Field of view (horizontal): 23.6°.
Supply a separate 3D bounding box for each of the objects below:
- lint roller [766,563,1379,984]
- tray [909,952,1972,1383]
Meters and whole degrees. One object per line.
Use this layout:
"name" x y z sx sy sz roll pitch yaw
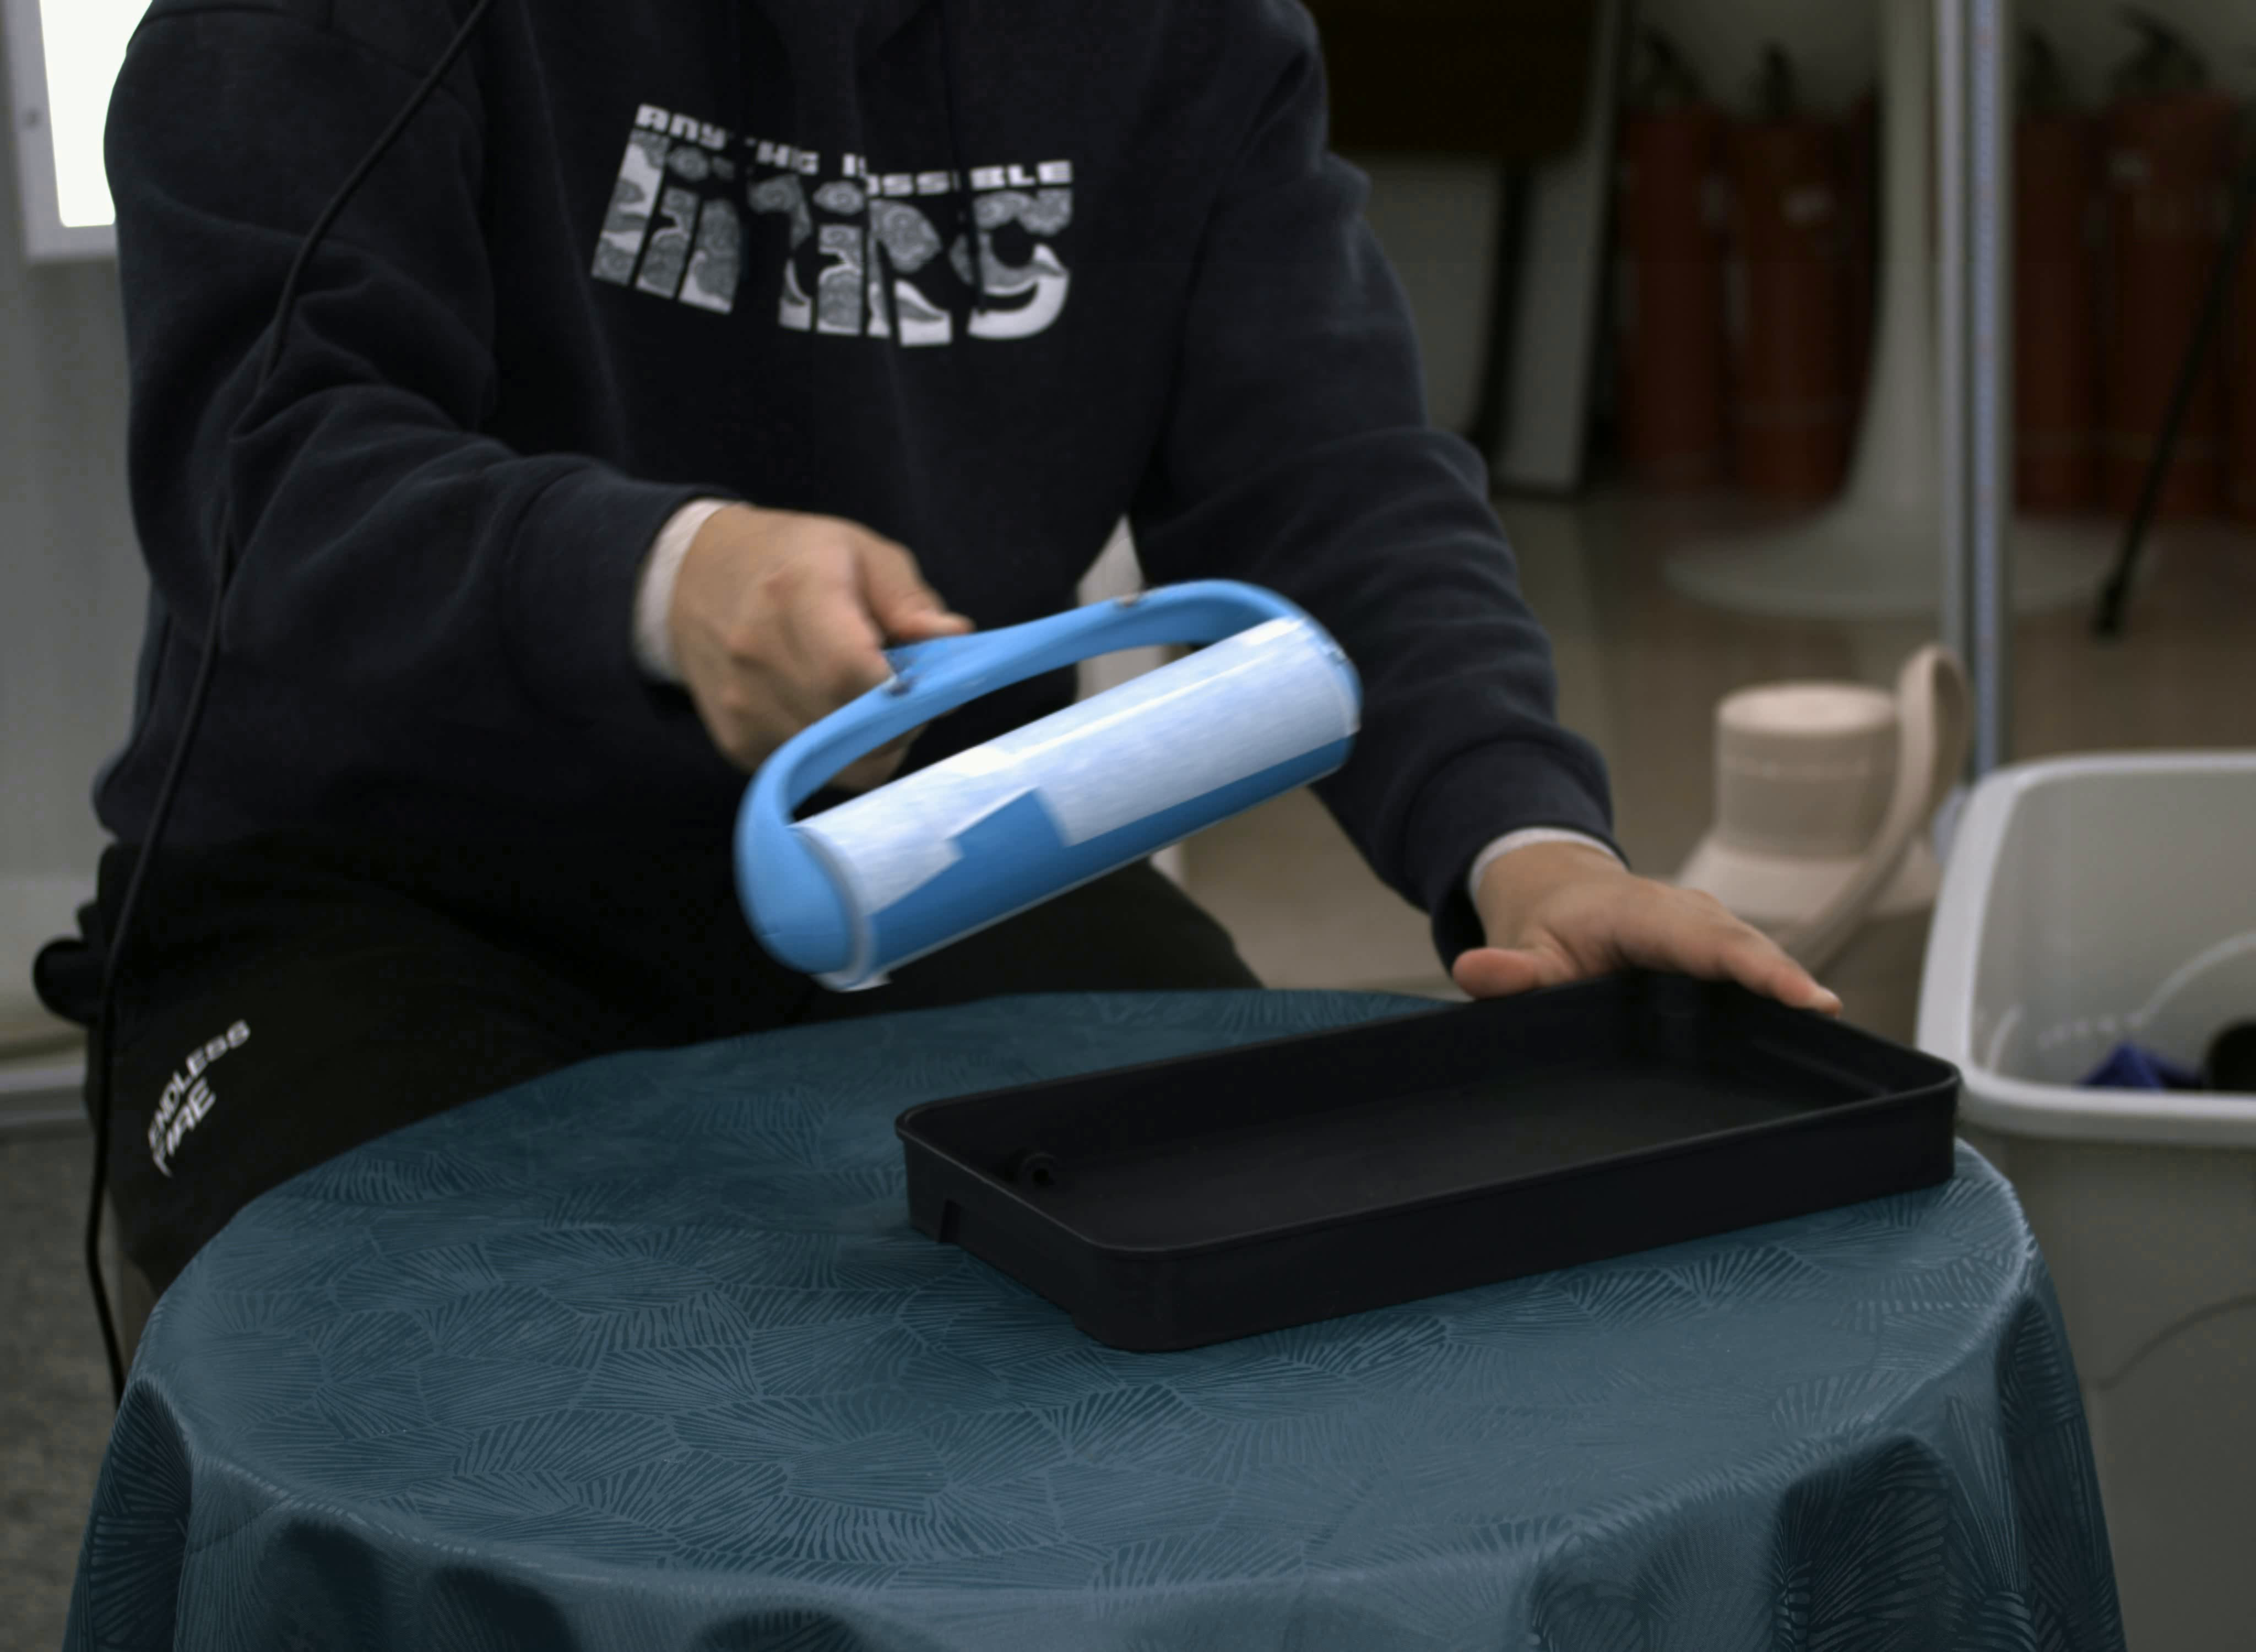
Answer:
"lint roller" -0.050 -0.033 1.732 0.225 0.068 0.182 -28 36 -30
"tray" 0.102 0.106 1.747 0.311 0.037 0.186 -13 16 -24
